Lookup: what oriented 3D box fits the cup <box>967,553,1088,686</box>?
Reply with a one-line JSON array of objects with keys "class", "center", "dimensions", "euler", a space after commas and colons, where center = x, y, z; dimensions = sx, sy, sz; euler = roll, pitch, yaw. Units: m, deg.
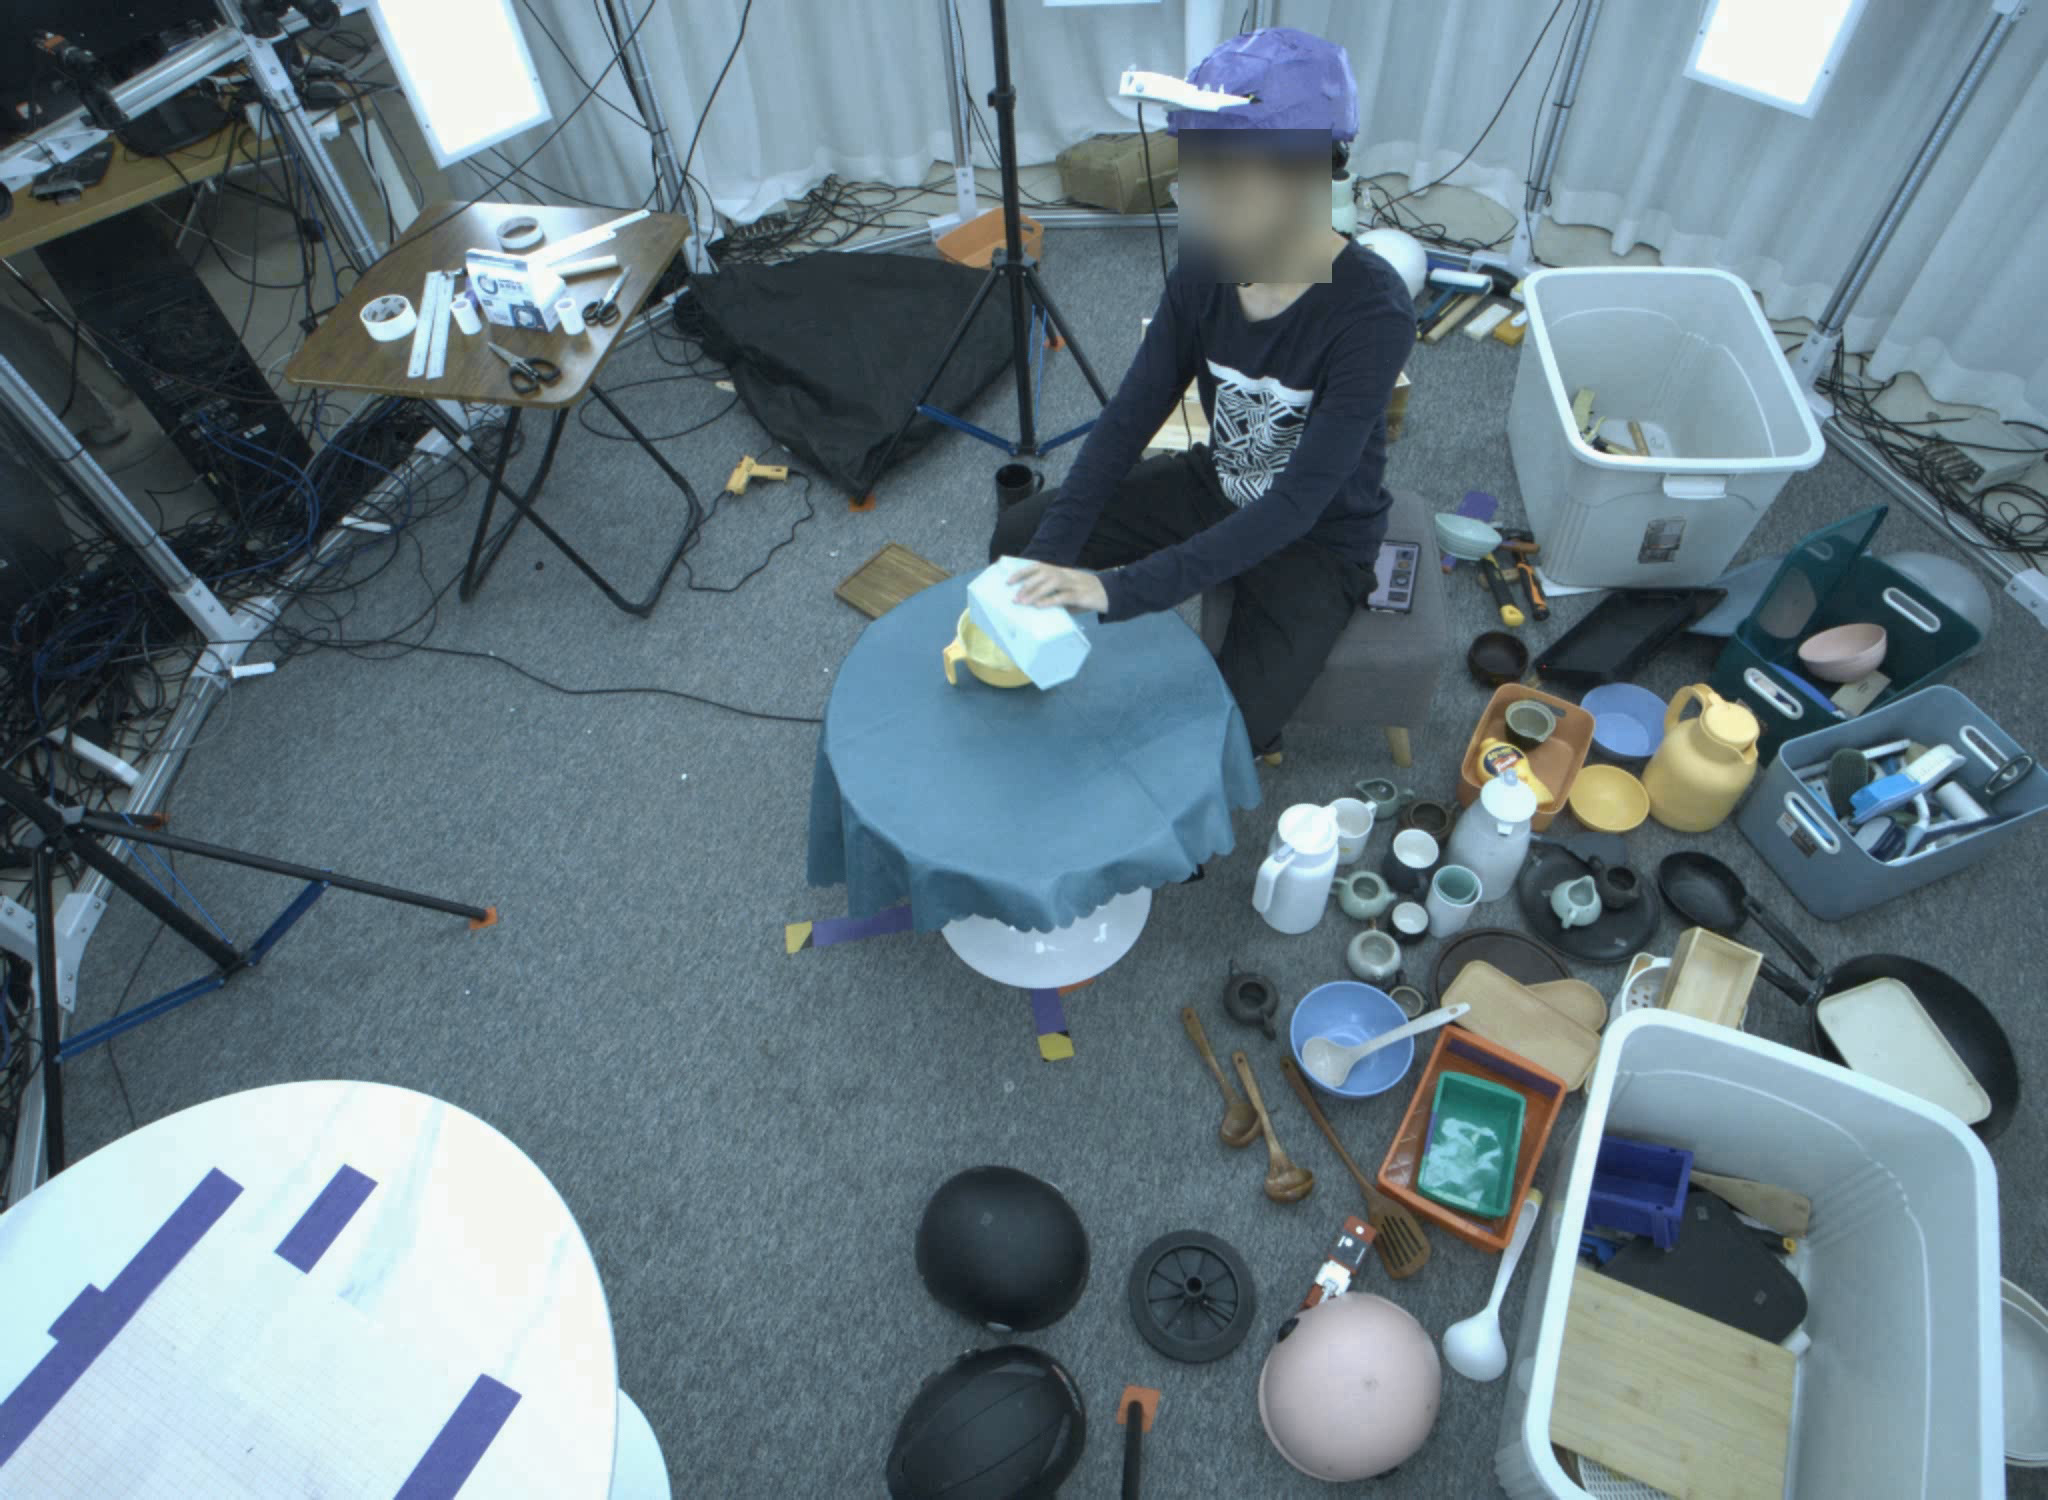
[{"class": "cup", "center": [0.005, -0.178, 1.703], "dimensions": [0.116, 0.132, 0.159], "euler": [-19, 49, -18]}]

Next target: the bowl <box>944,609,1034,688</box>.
[{"class": "bowl", "center": [-0.034, -0.156, 1.852], "dimensions": [0.181, 0.075, 0.150], "euler": [-25, 57, -18]}]
